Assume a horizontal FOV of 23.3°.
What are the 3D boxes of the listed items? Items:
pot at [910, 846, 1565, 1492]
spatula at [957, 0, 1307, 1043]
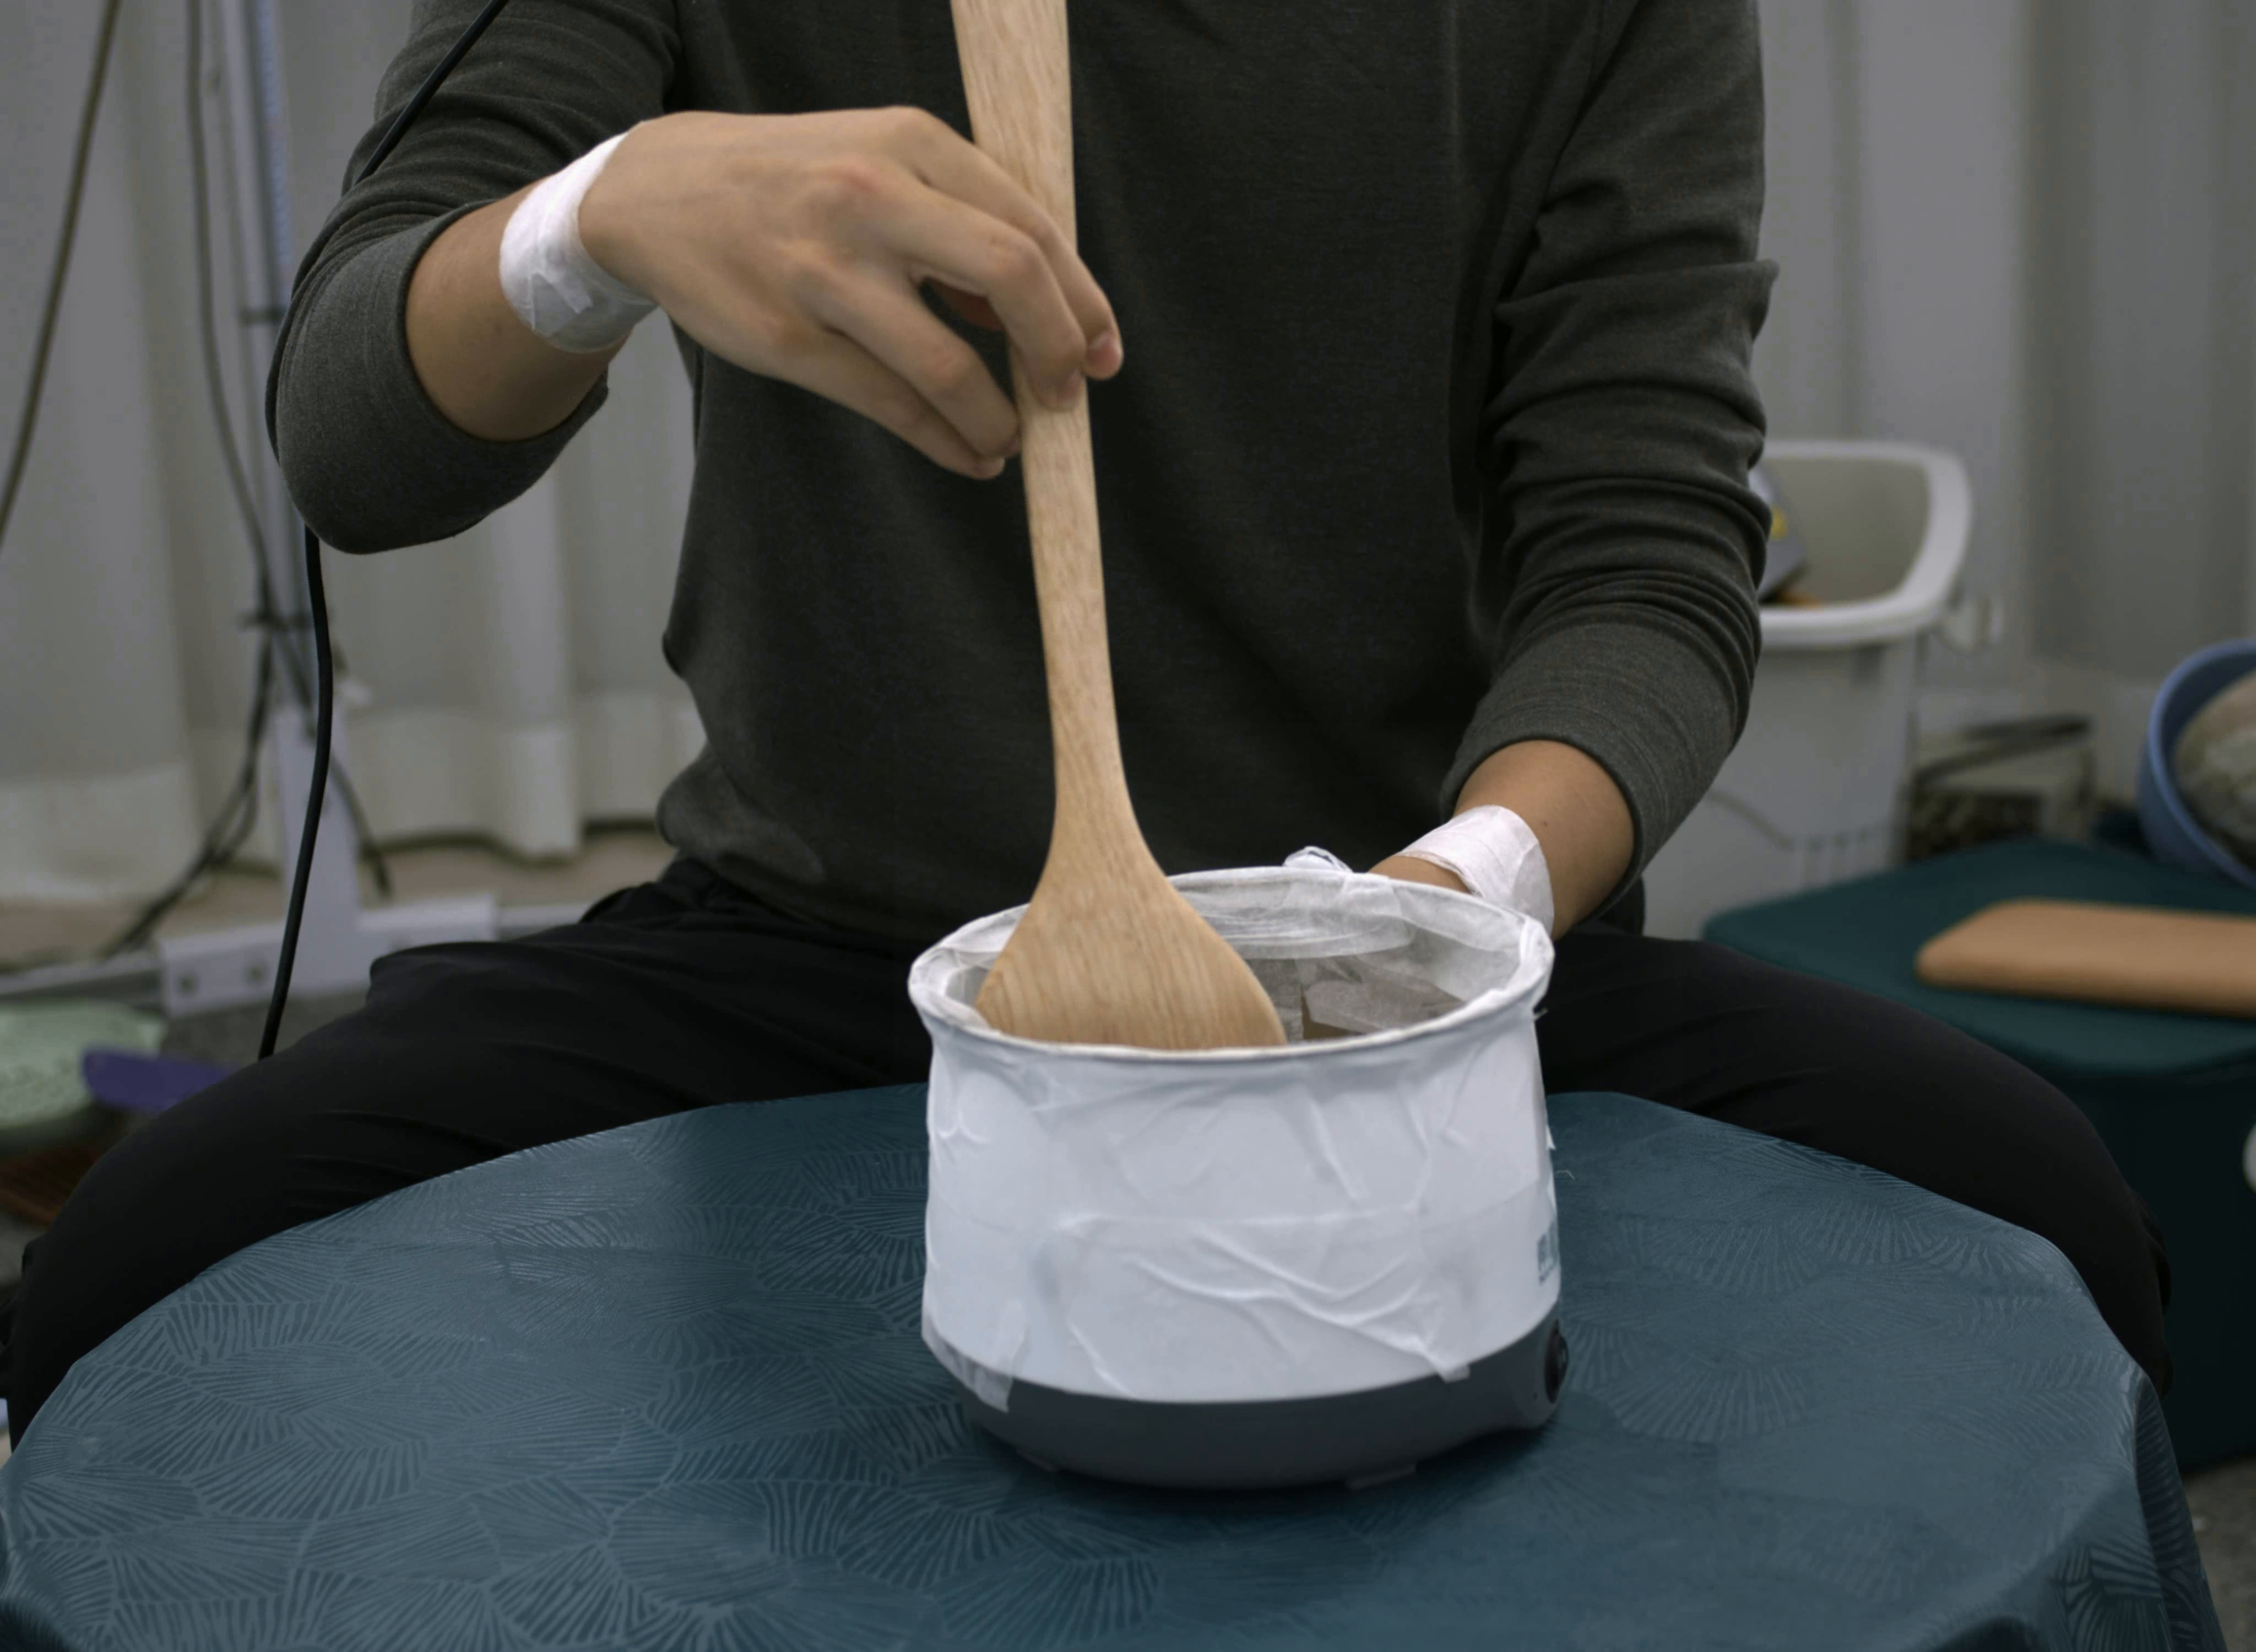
[{"bbox_3d":[0.038,0.090,1.538,0.178,0.136,0.235,1,15,14],"label":"pot"},{"bbox_3d":[-0.011,-0.077,1.488,0.095,0.392,0.018,-6,1,0],"label":"spatula"}]
